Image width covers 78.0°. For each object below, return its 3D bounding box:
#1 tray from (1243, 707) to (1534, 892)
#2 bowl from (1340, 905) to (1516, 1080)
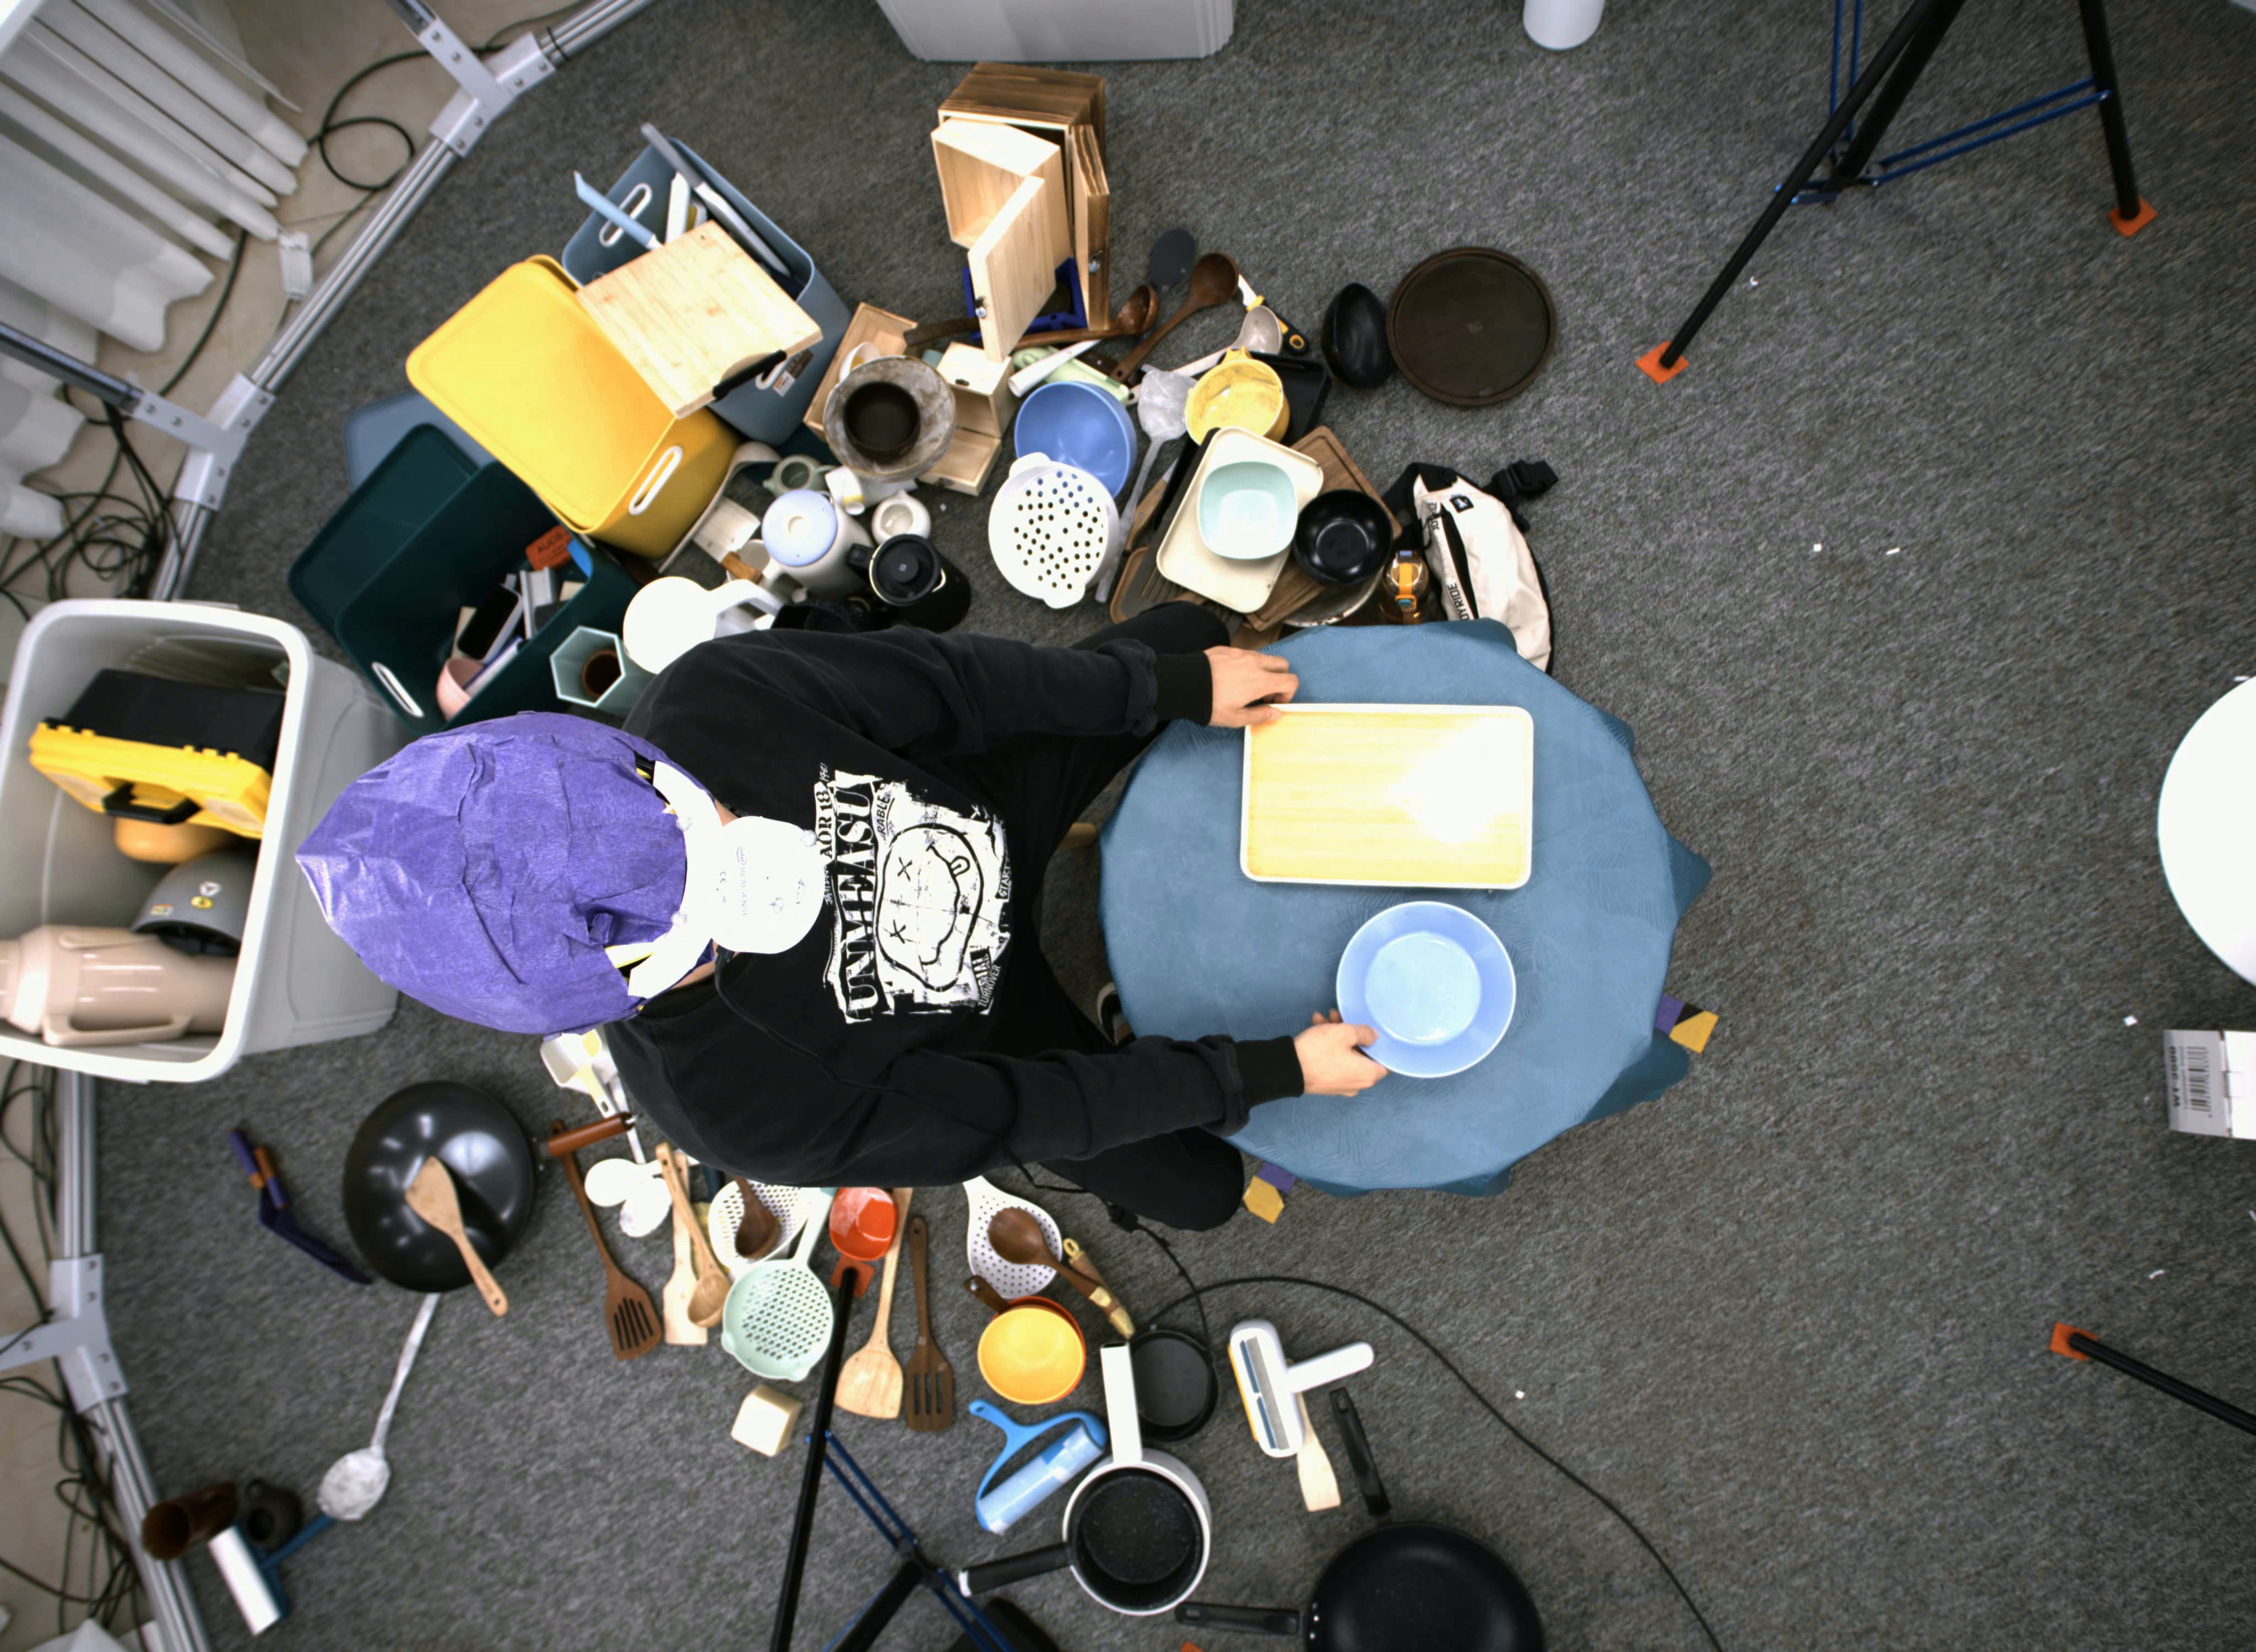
[{"bbox_3d":[0.274,-0.030,1.458,0.301,0.027,0.190,1,86,10],"label":"tray"},{"bbox_3d":[0.305,0.169,1.415,0.177,0.070,0.175,-1,84,10],"label":"bowl"}]
